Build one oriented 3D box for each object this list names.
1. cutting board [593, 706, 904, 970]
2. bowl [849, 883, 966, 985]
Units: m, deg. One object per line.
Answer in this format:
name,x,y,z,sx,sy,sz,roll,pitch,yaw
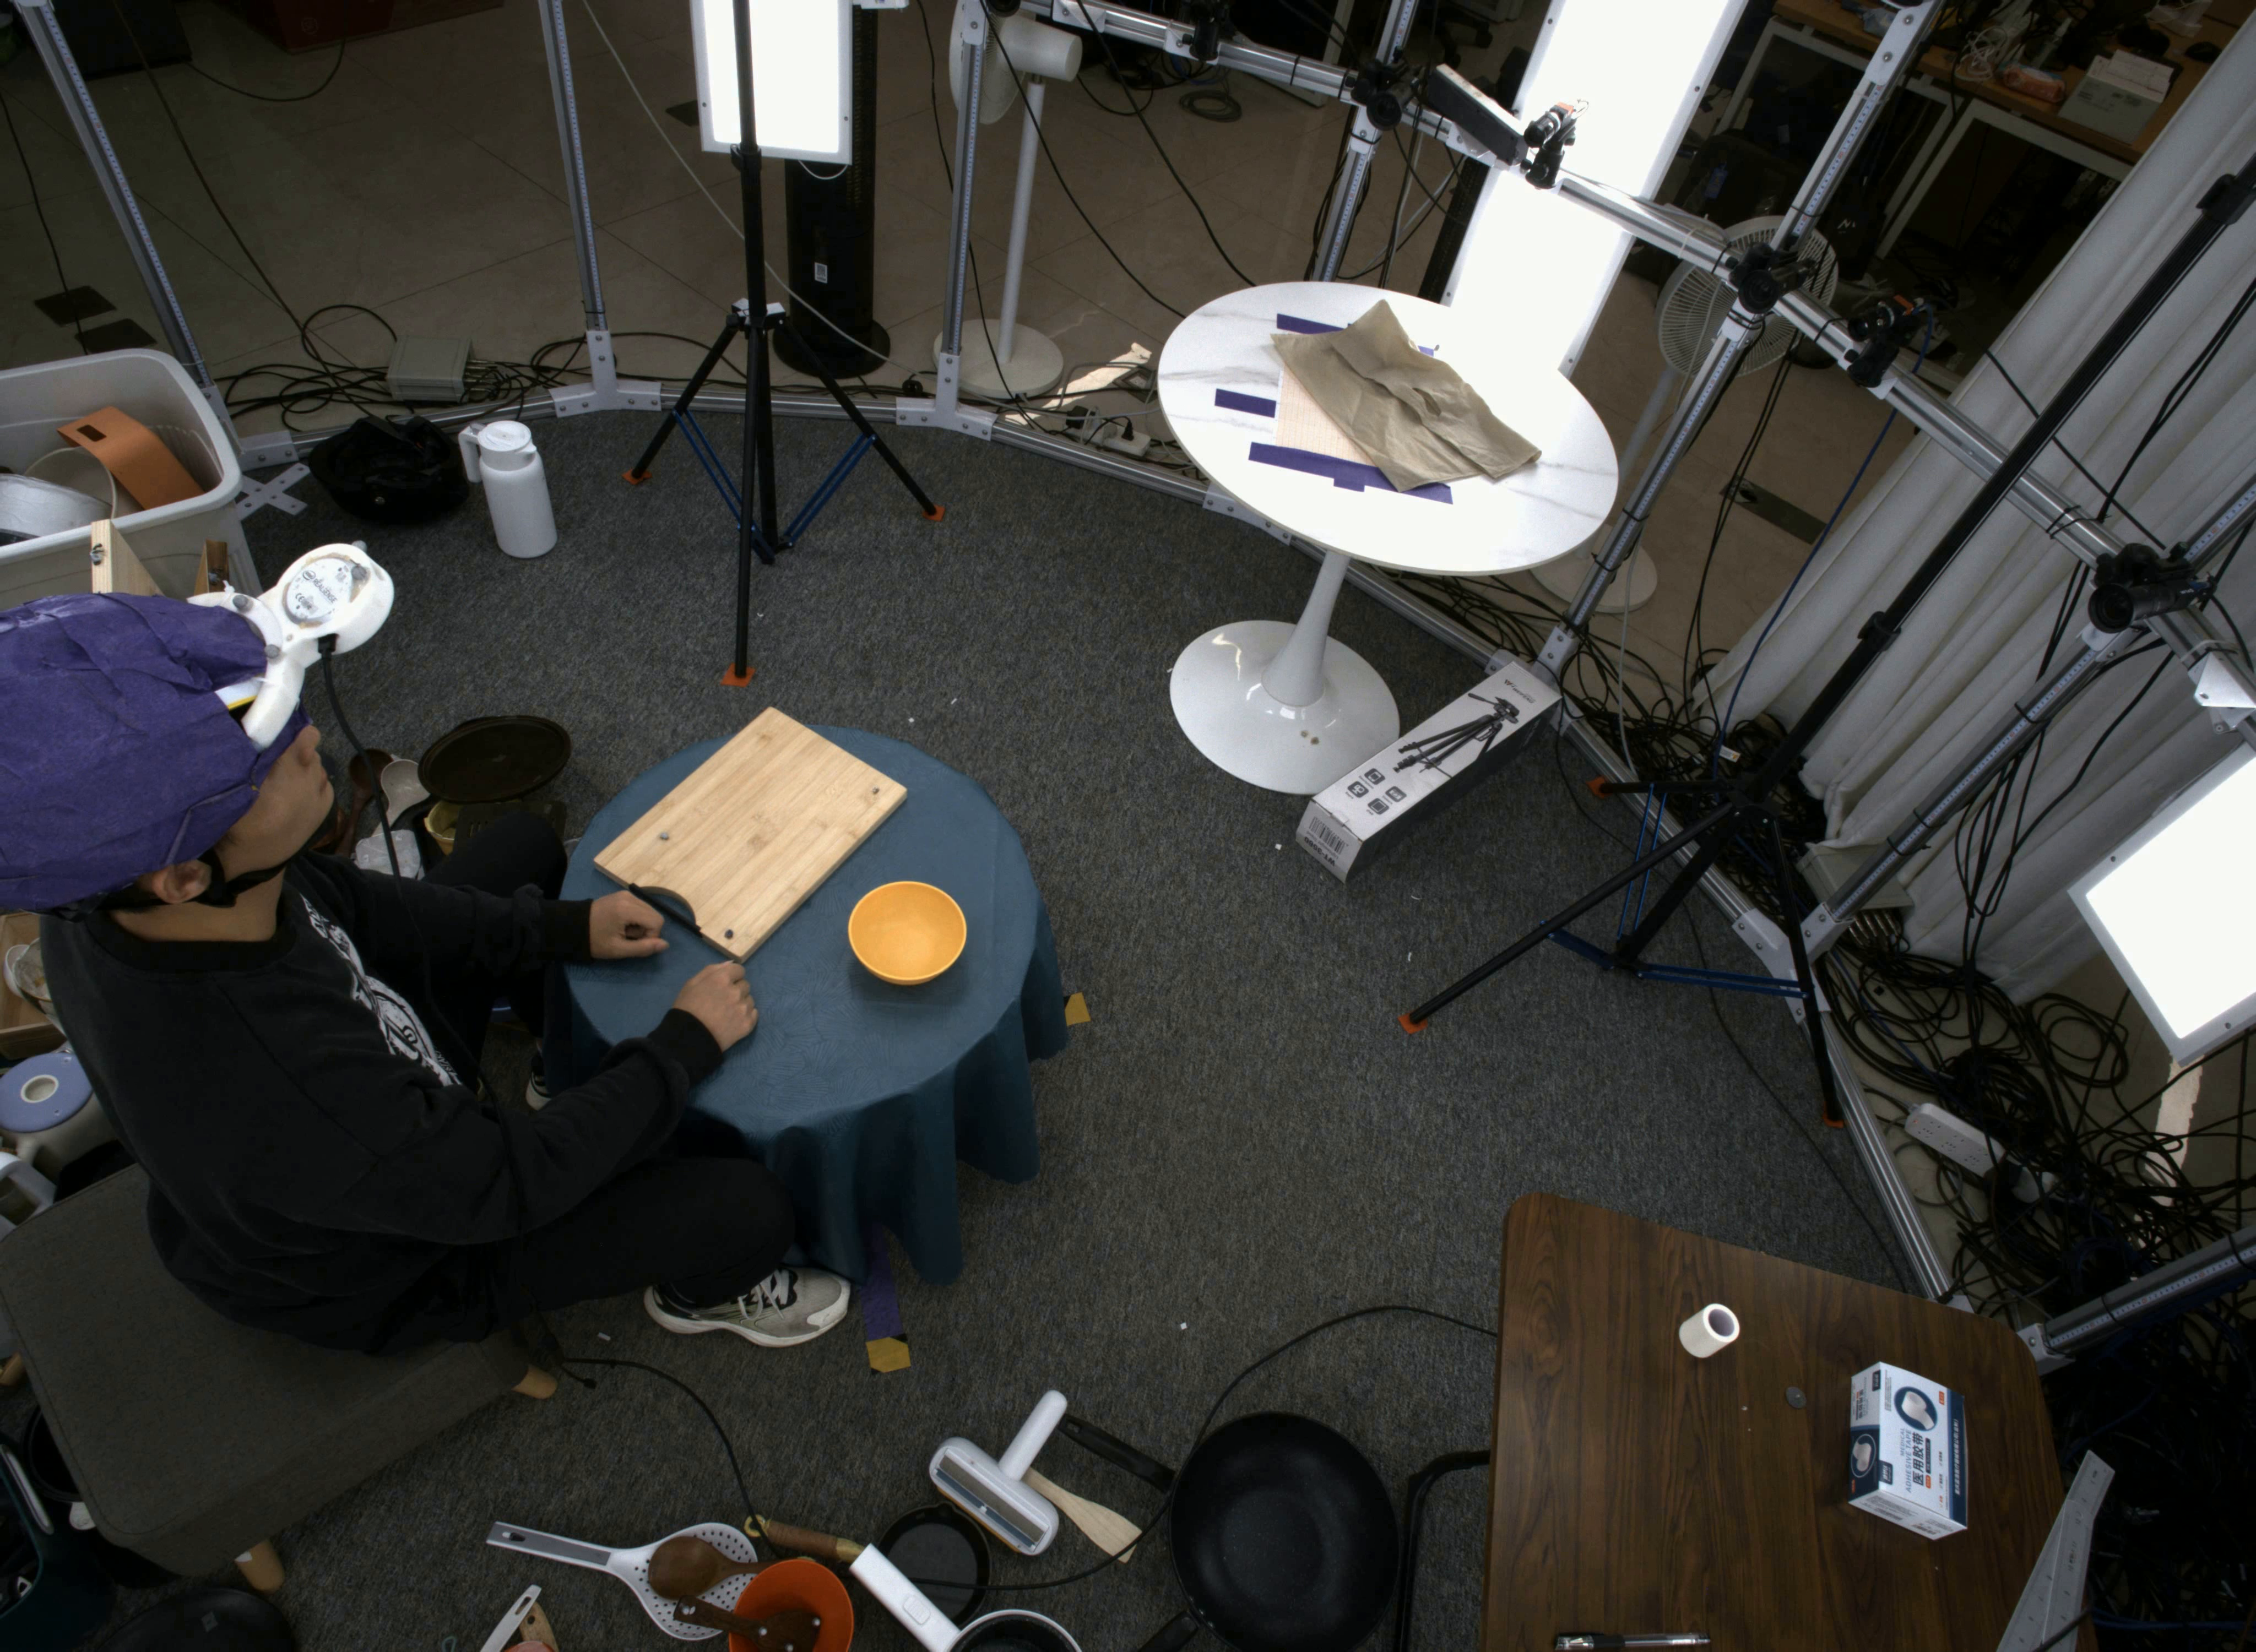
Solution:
cutting board,-0.492,0.004,1.698,0.246,0.024,0.347,30,53,9
bowl,-0.274,0.144,1.624,0.144,0.061,0.142,6,51,-6
